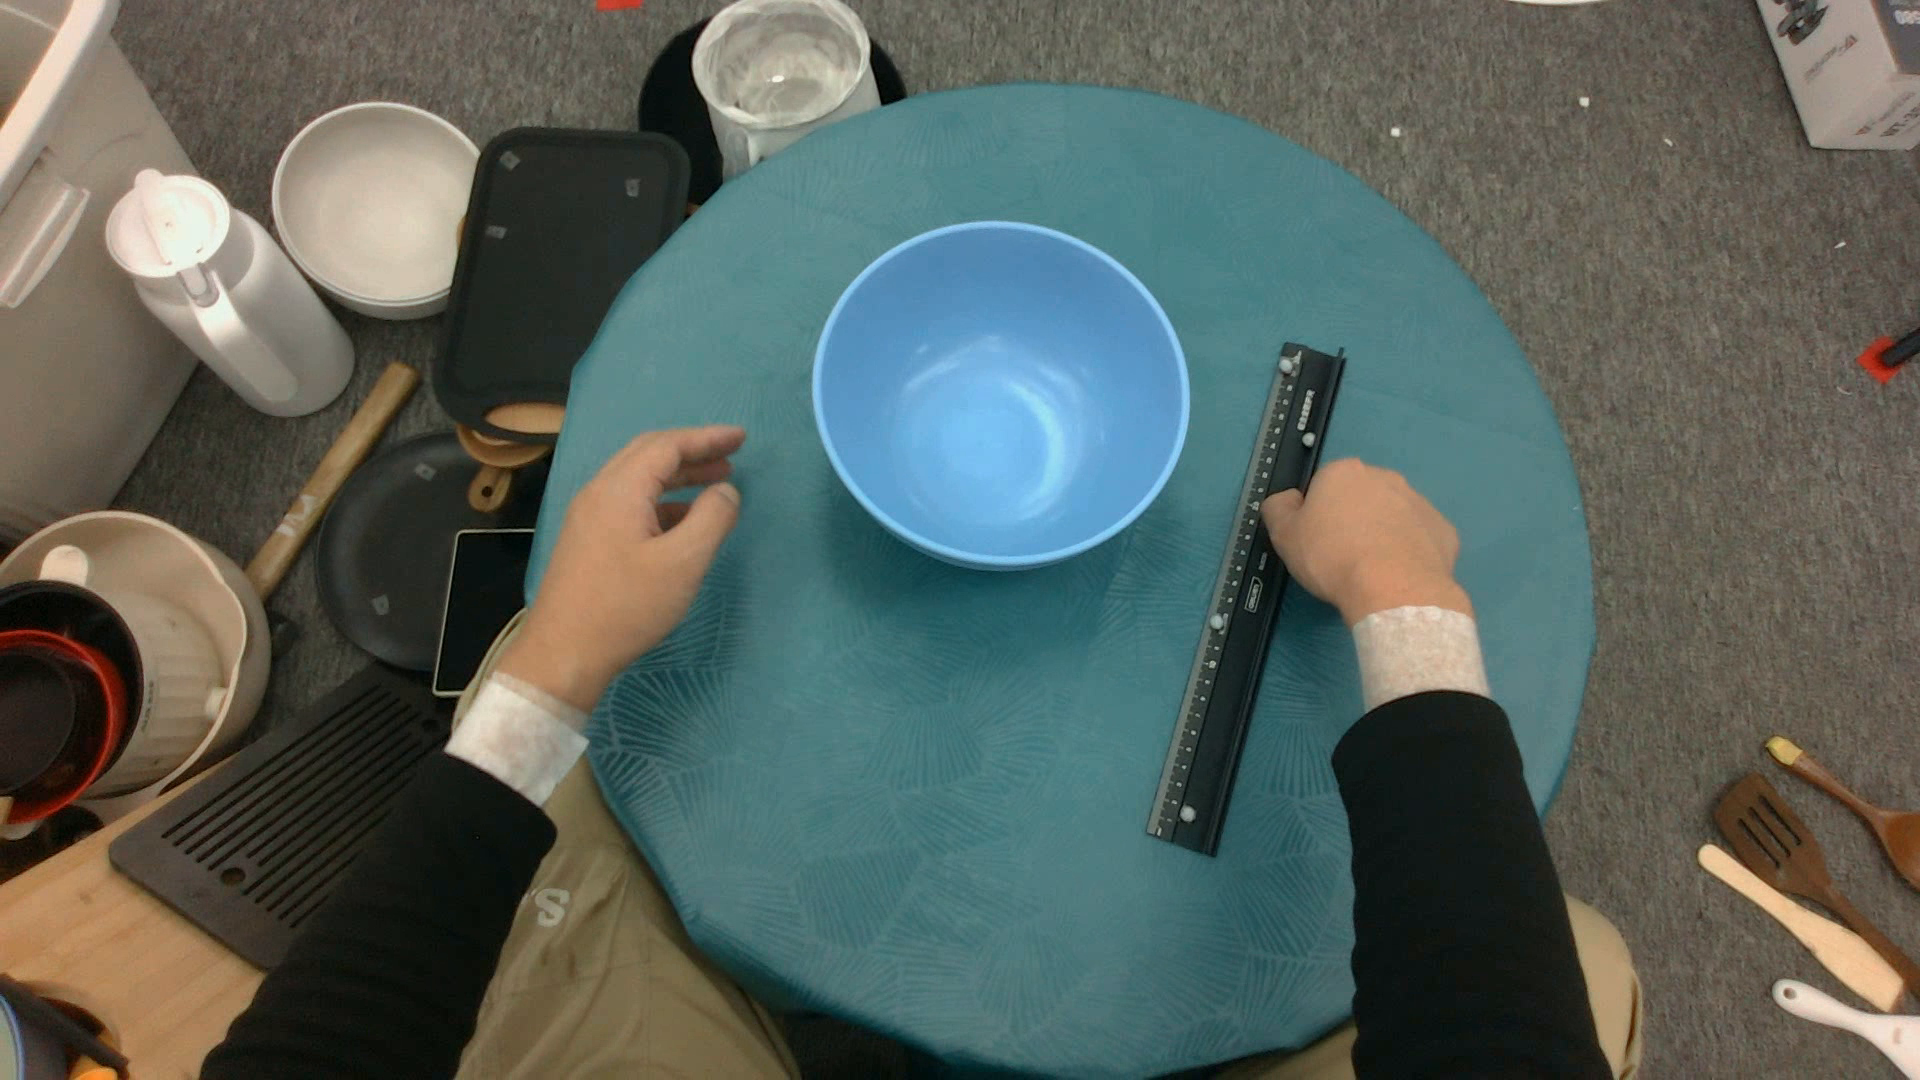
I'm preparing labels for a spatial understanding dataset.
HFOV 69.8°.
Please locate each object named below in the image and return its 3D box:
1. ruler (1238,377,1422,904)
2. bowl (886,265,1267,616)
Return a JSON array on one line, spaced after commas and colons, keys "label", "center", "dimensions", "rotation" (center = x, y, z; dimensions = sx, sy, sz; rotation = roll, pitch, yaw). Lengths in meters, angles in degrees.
[{"label": "ruler", "center": [0.209, 0.042, 0.760], "dimensions": [0.039, 0.017, 0.313], "rotation": [16, 69, 8]}, {"label": "bowl", "center": [0.060, -0.041, 0.749], "dimensions": [0.196, 0.095, 0.197], "rotation": [0, 68, 0]}]
